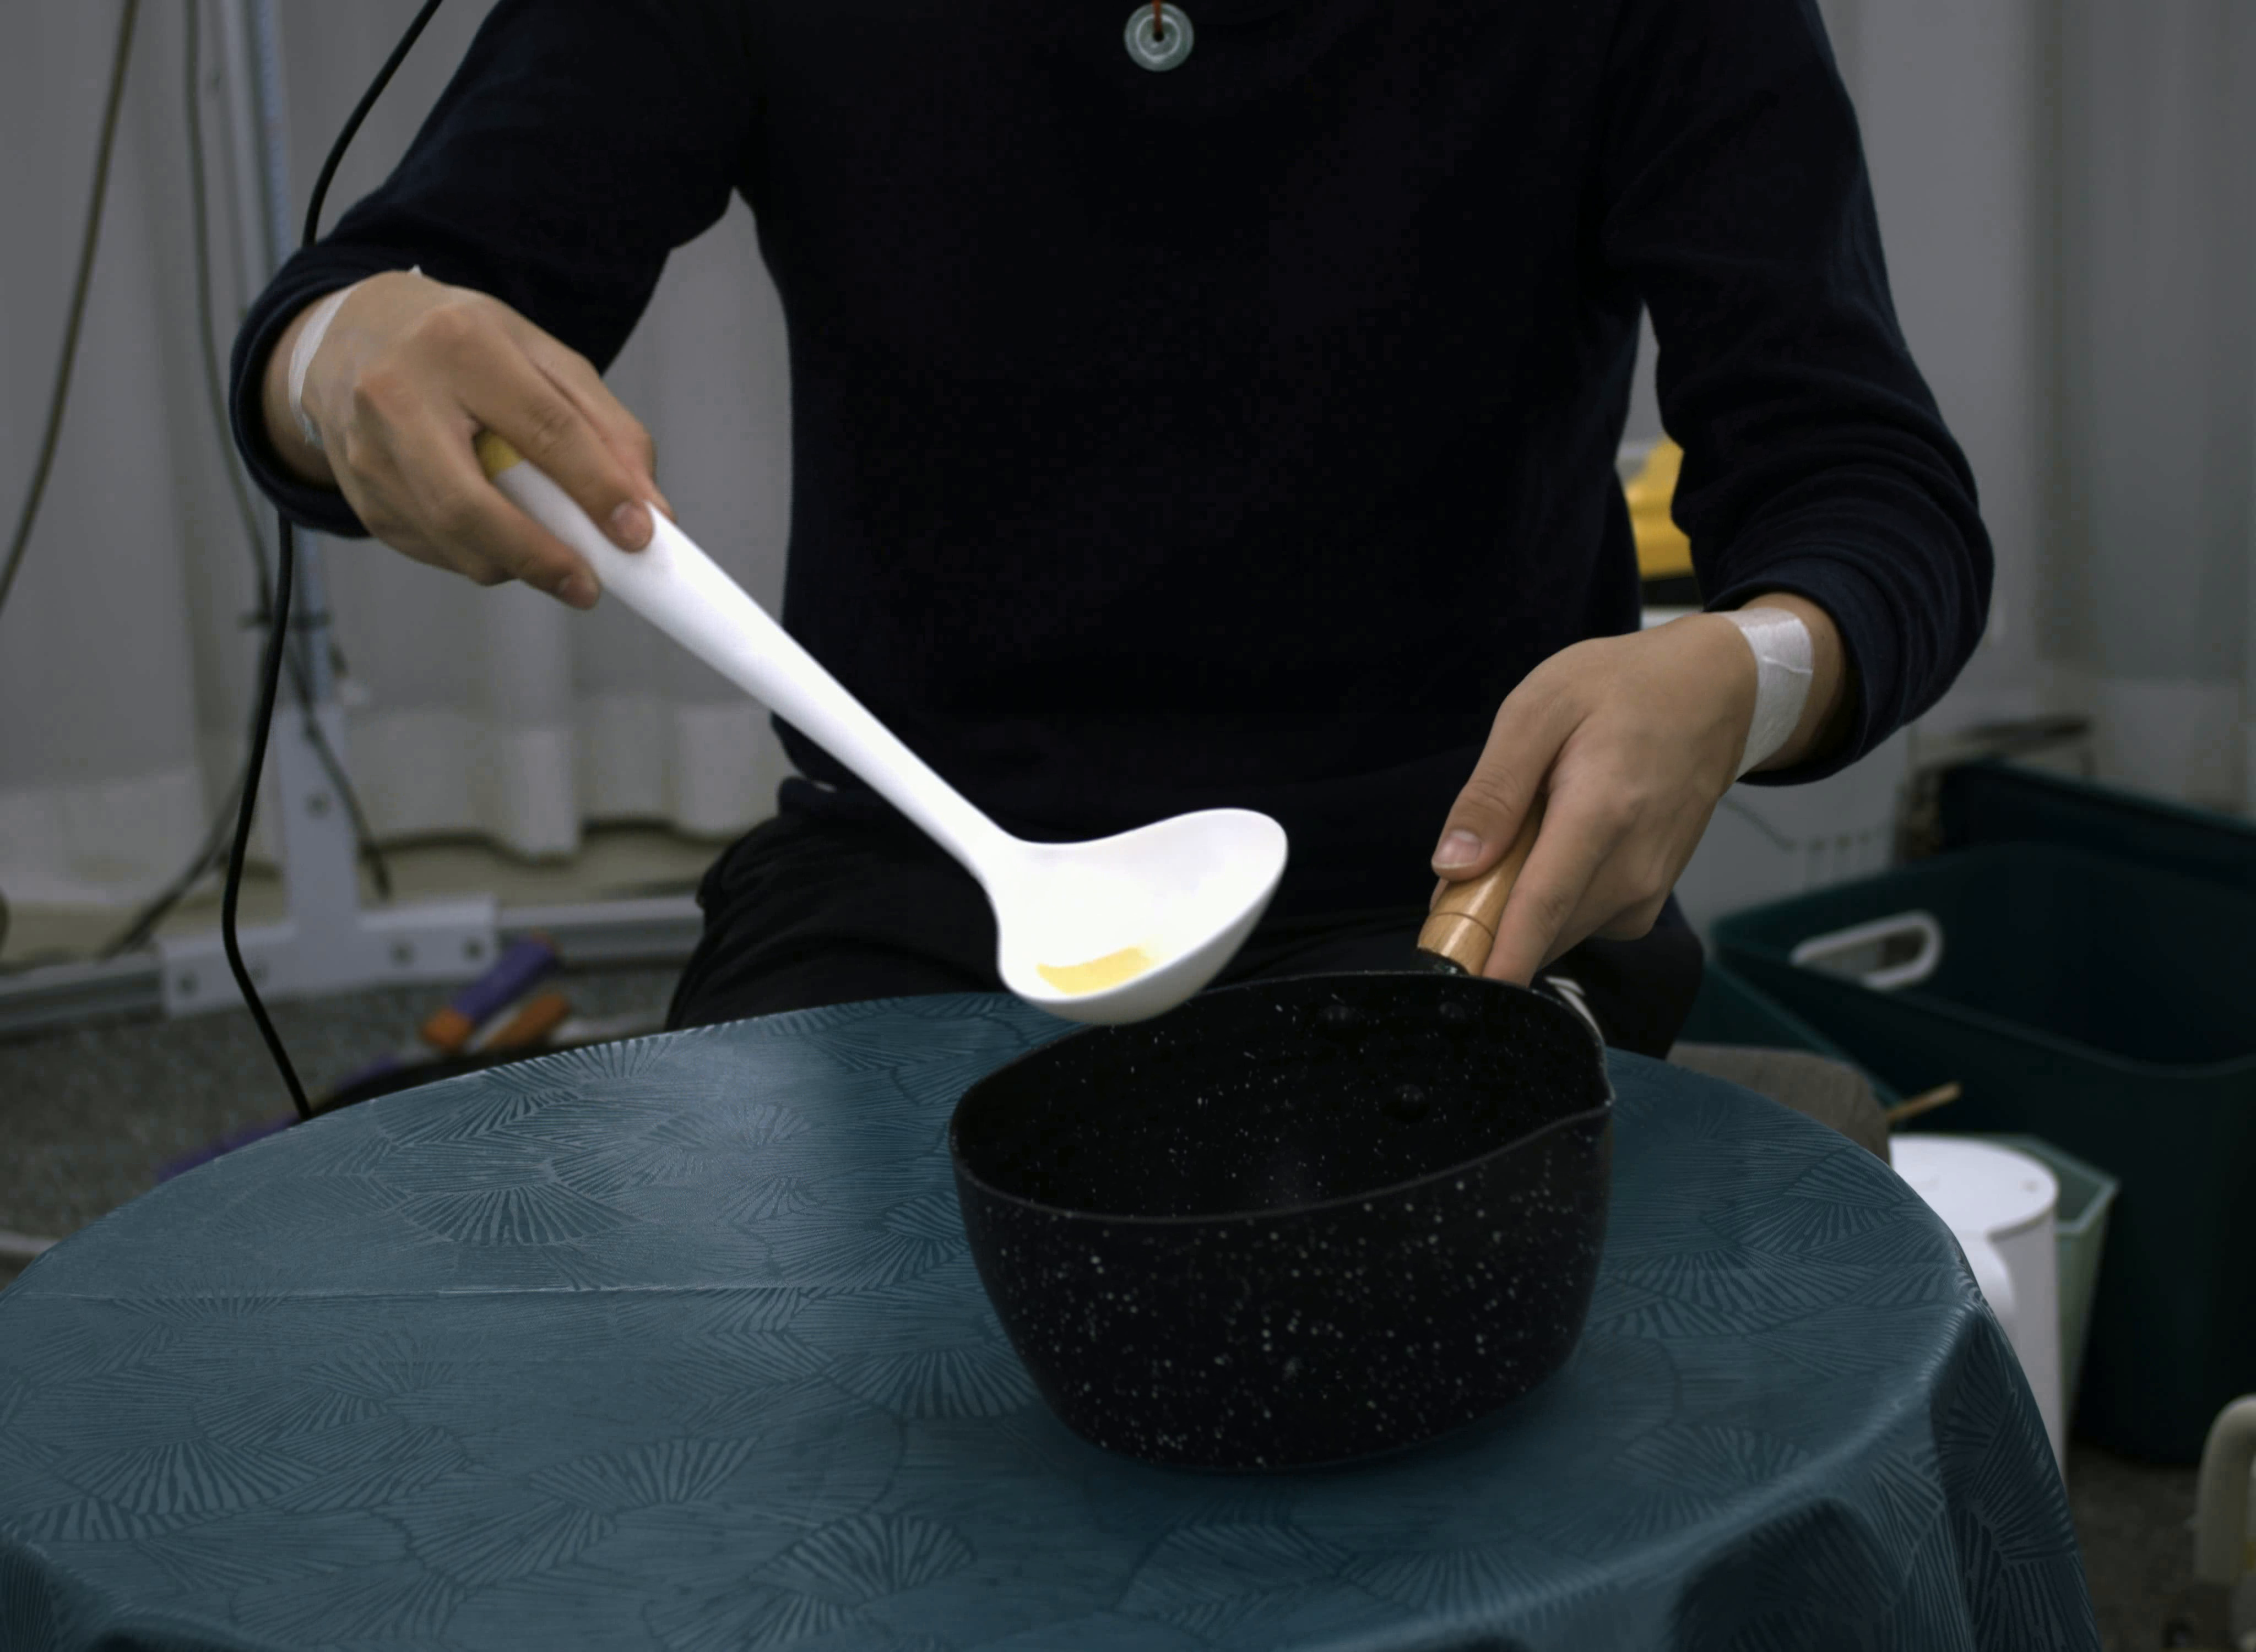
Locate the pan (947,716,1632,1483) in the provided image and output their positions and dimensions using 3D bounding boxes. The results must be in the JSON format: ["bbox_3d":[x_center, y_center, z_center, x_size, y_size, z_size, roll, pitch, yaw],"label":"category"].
[{"bbox_3d":[0.076,0.075,1.592,0.207,0.107,0.344,-2,20,25],"label":"pan"}]

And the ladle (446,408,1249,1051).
[{"bbox_3d":[-0.088,-0.035,1.552,0.295,0.069,0.090,39,69,23],"label":"ladle"}]
